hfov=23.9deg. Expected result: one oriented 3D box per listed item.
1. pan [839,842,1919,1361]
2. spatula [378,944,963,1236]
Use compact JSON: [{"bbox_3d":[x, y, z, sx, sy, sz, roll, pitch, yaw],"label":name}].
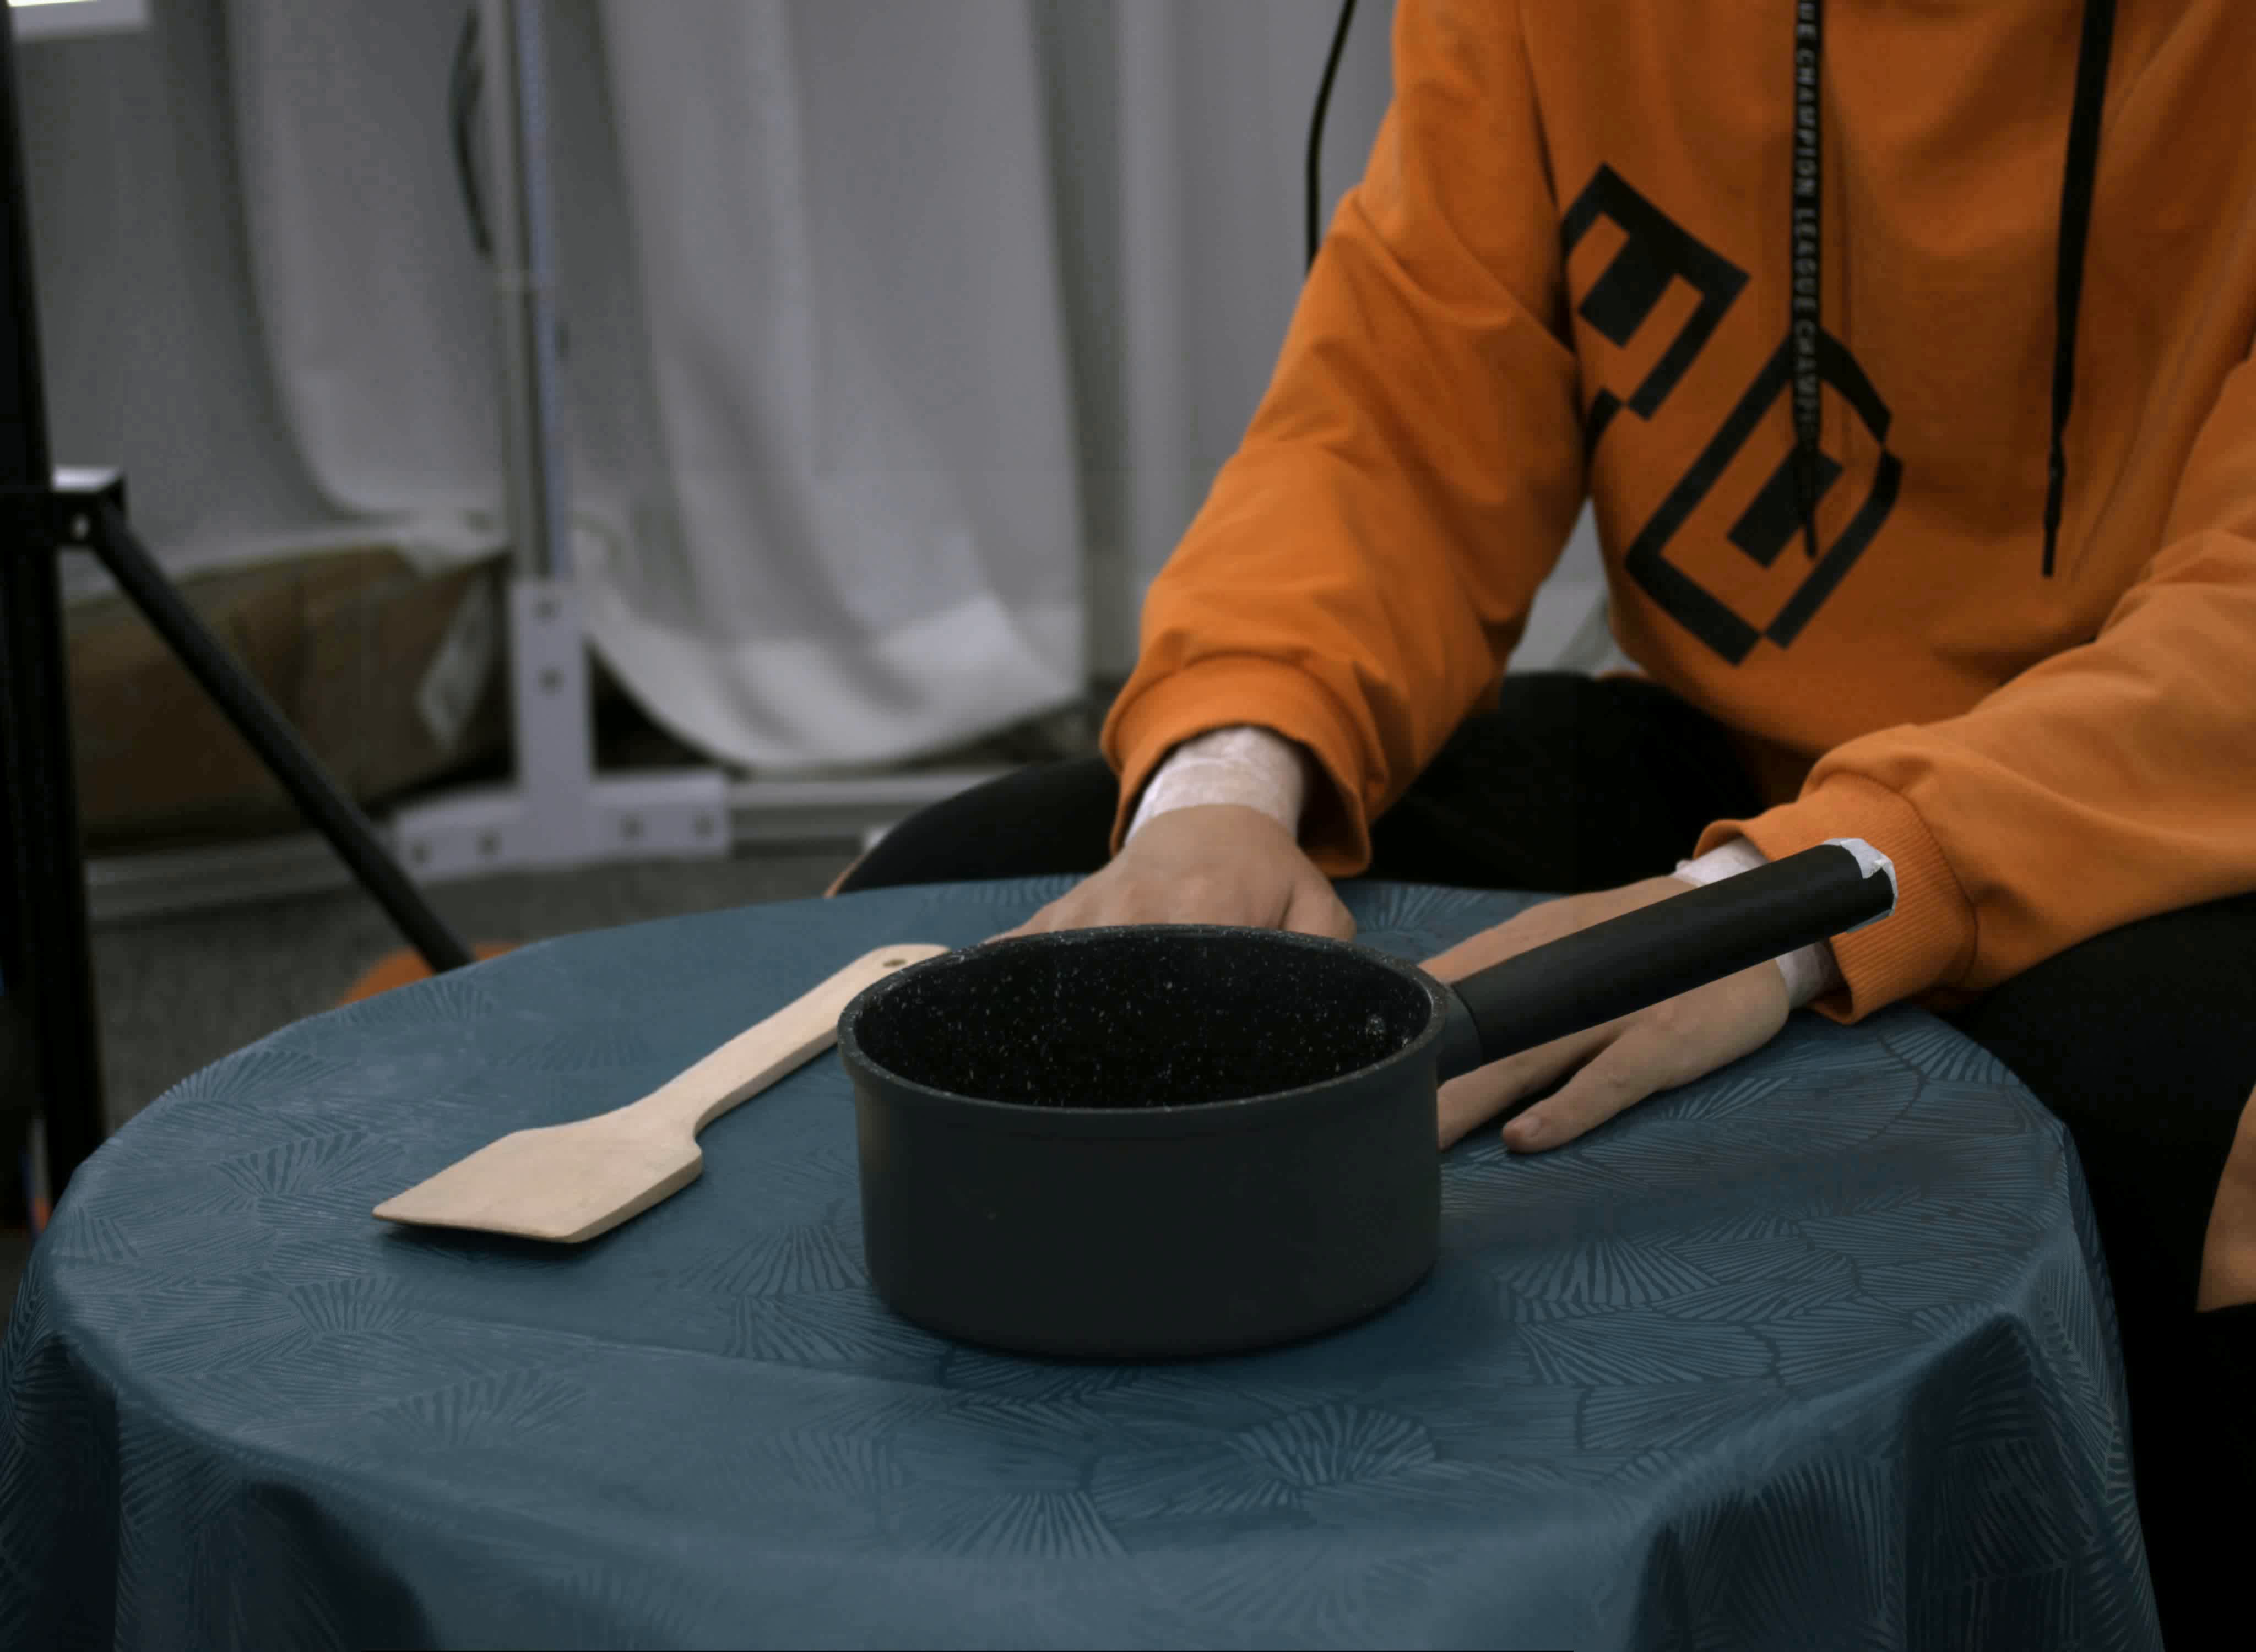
[{"bbox_3d":[0.078,0.073,1.514,0.323,0.086,0.175,-10,18,-20],"label":"pan"},{"bbox_3d":[-0.128,0.080,1.662,0.073,0.010,0.288,2,16,27],"label":"spatula"}]
